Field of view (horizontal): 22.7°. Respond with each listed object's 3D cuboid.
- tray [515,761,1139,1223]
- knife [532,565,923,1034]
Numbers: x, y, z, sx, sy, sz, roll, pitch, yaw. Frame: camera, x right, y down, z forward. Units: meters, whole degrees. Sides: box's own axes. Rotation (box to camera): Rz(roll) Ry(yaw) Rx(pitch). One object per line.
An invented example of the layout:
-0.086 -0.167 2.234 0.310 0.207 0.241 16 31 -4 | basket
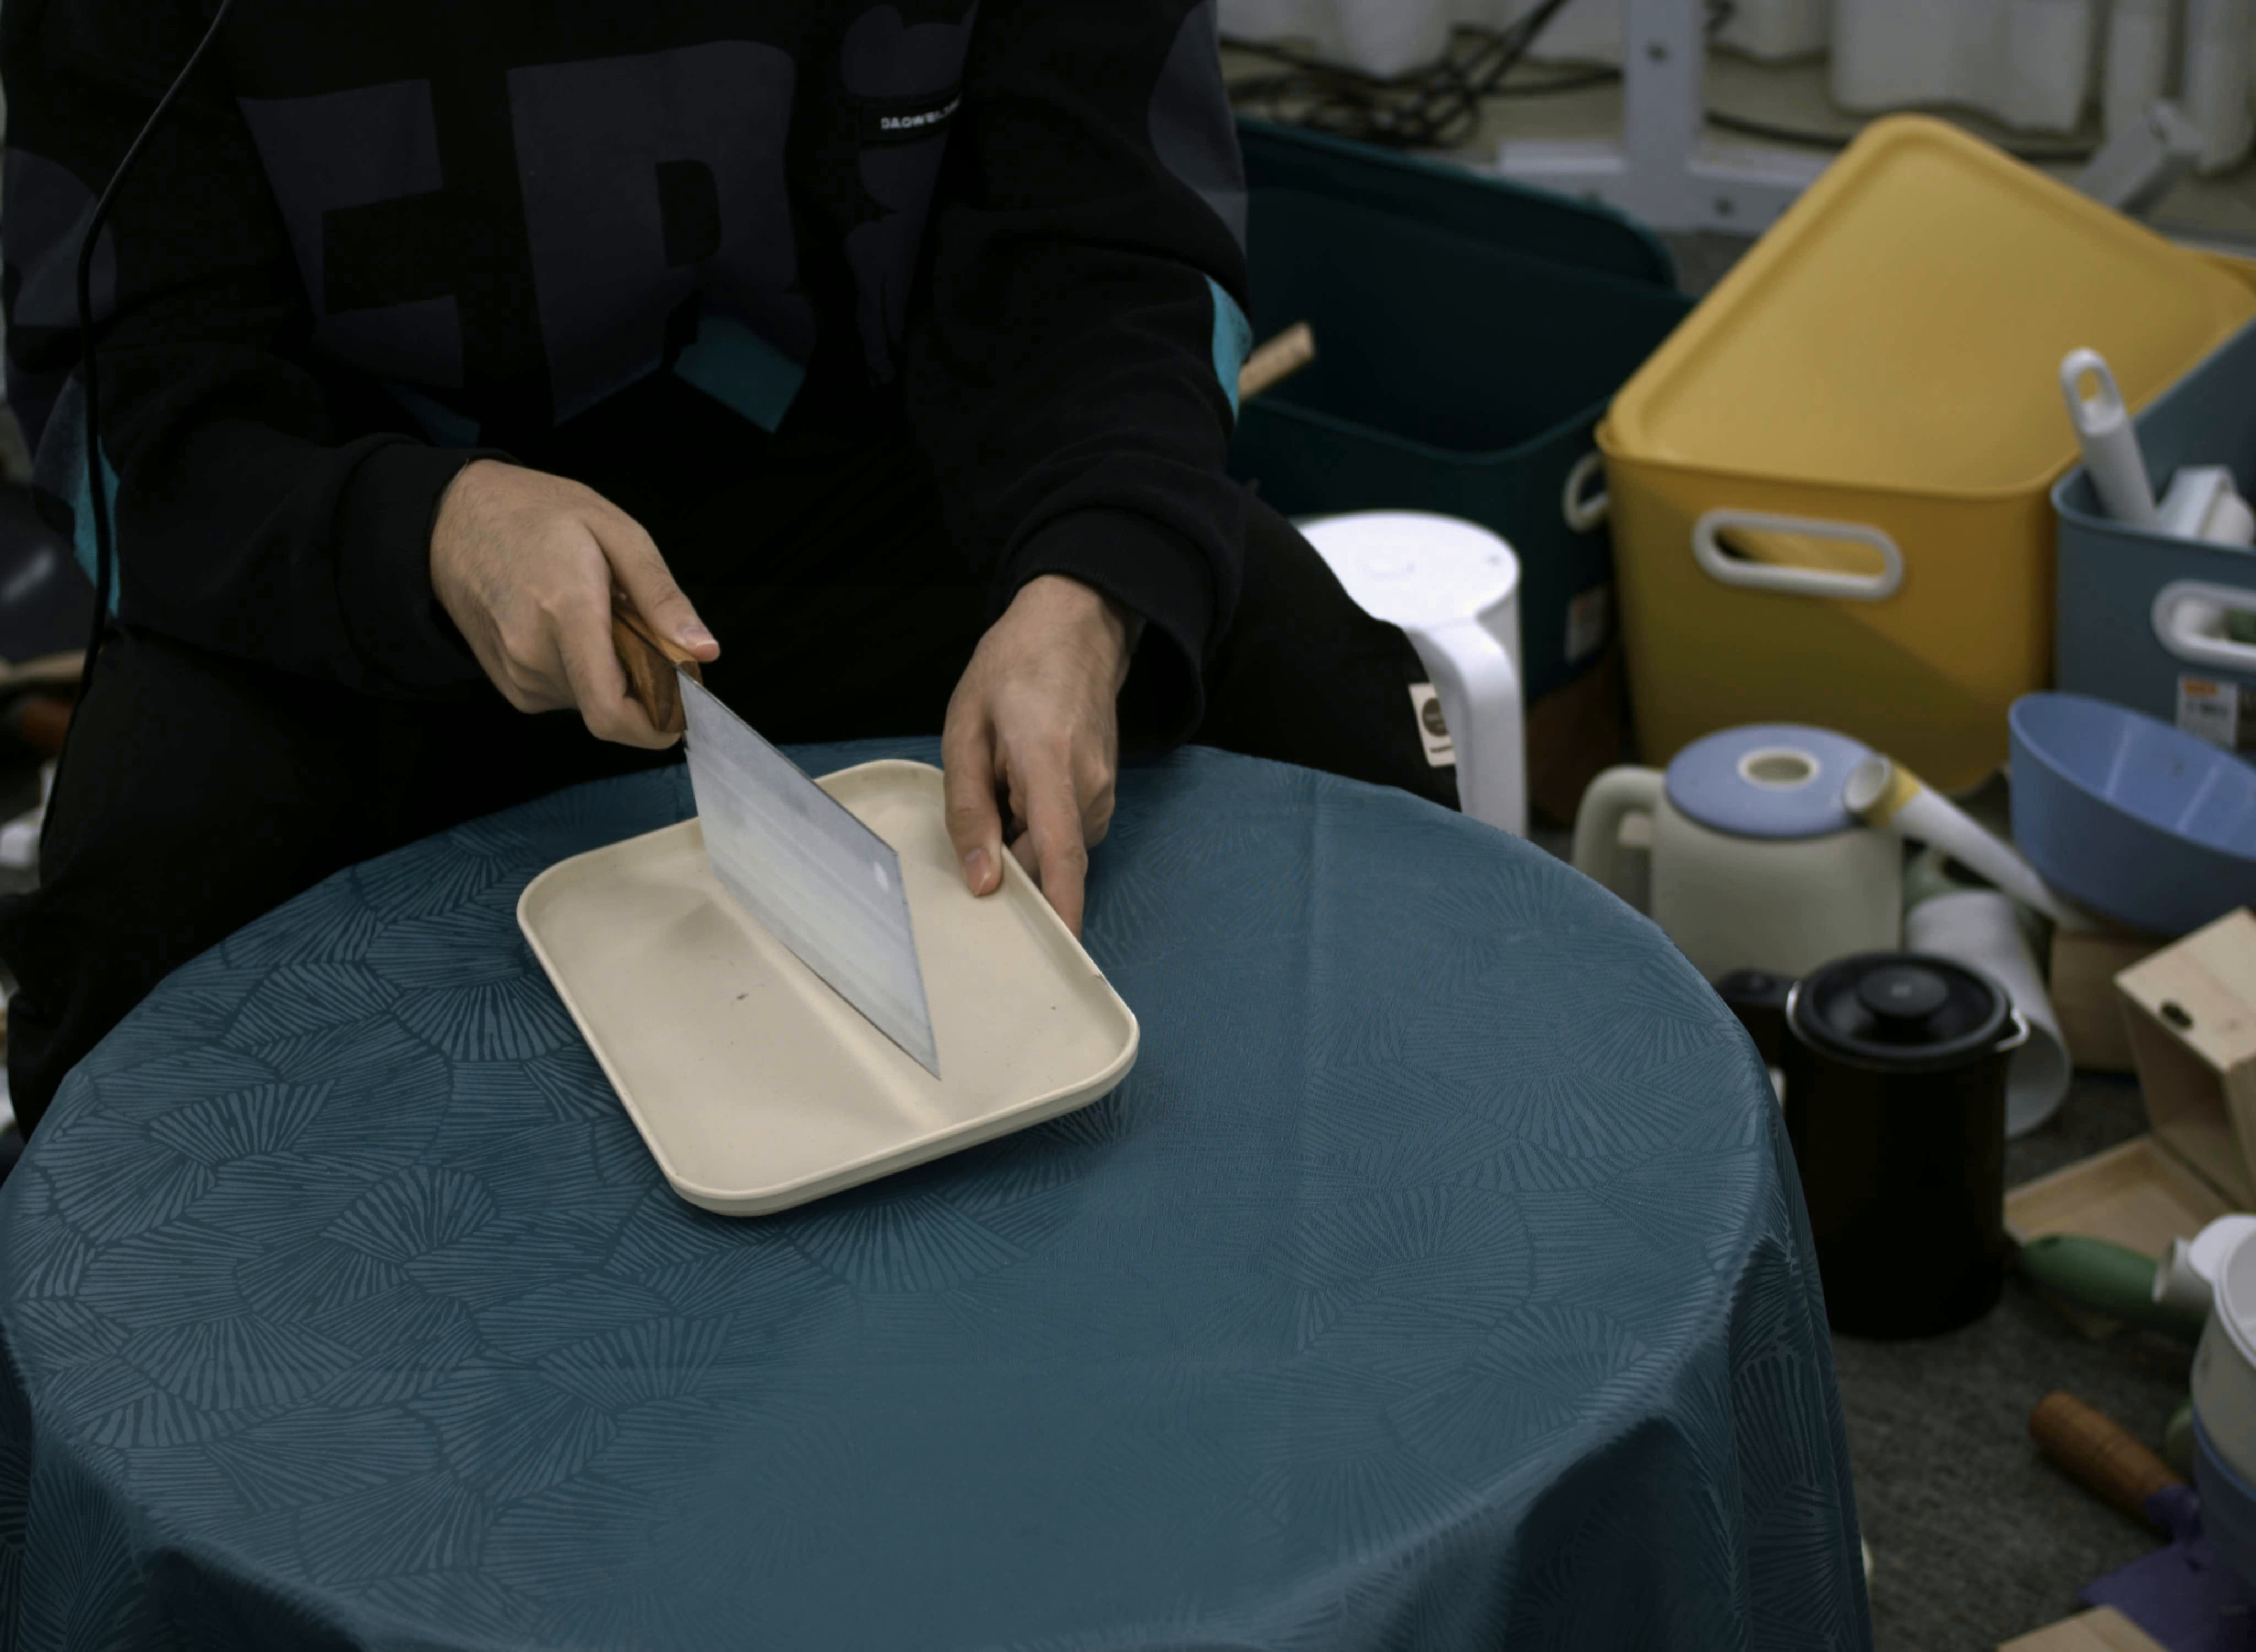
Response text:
-0.107 0.056 1.958 0.172 0.017 0.242 -19 33 -14 | tray
-0.140 -0.009 1.973 0.021 0.092 0.307 -20 29 -20 | knife
